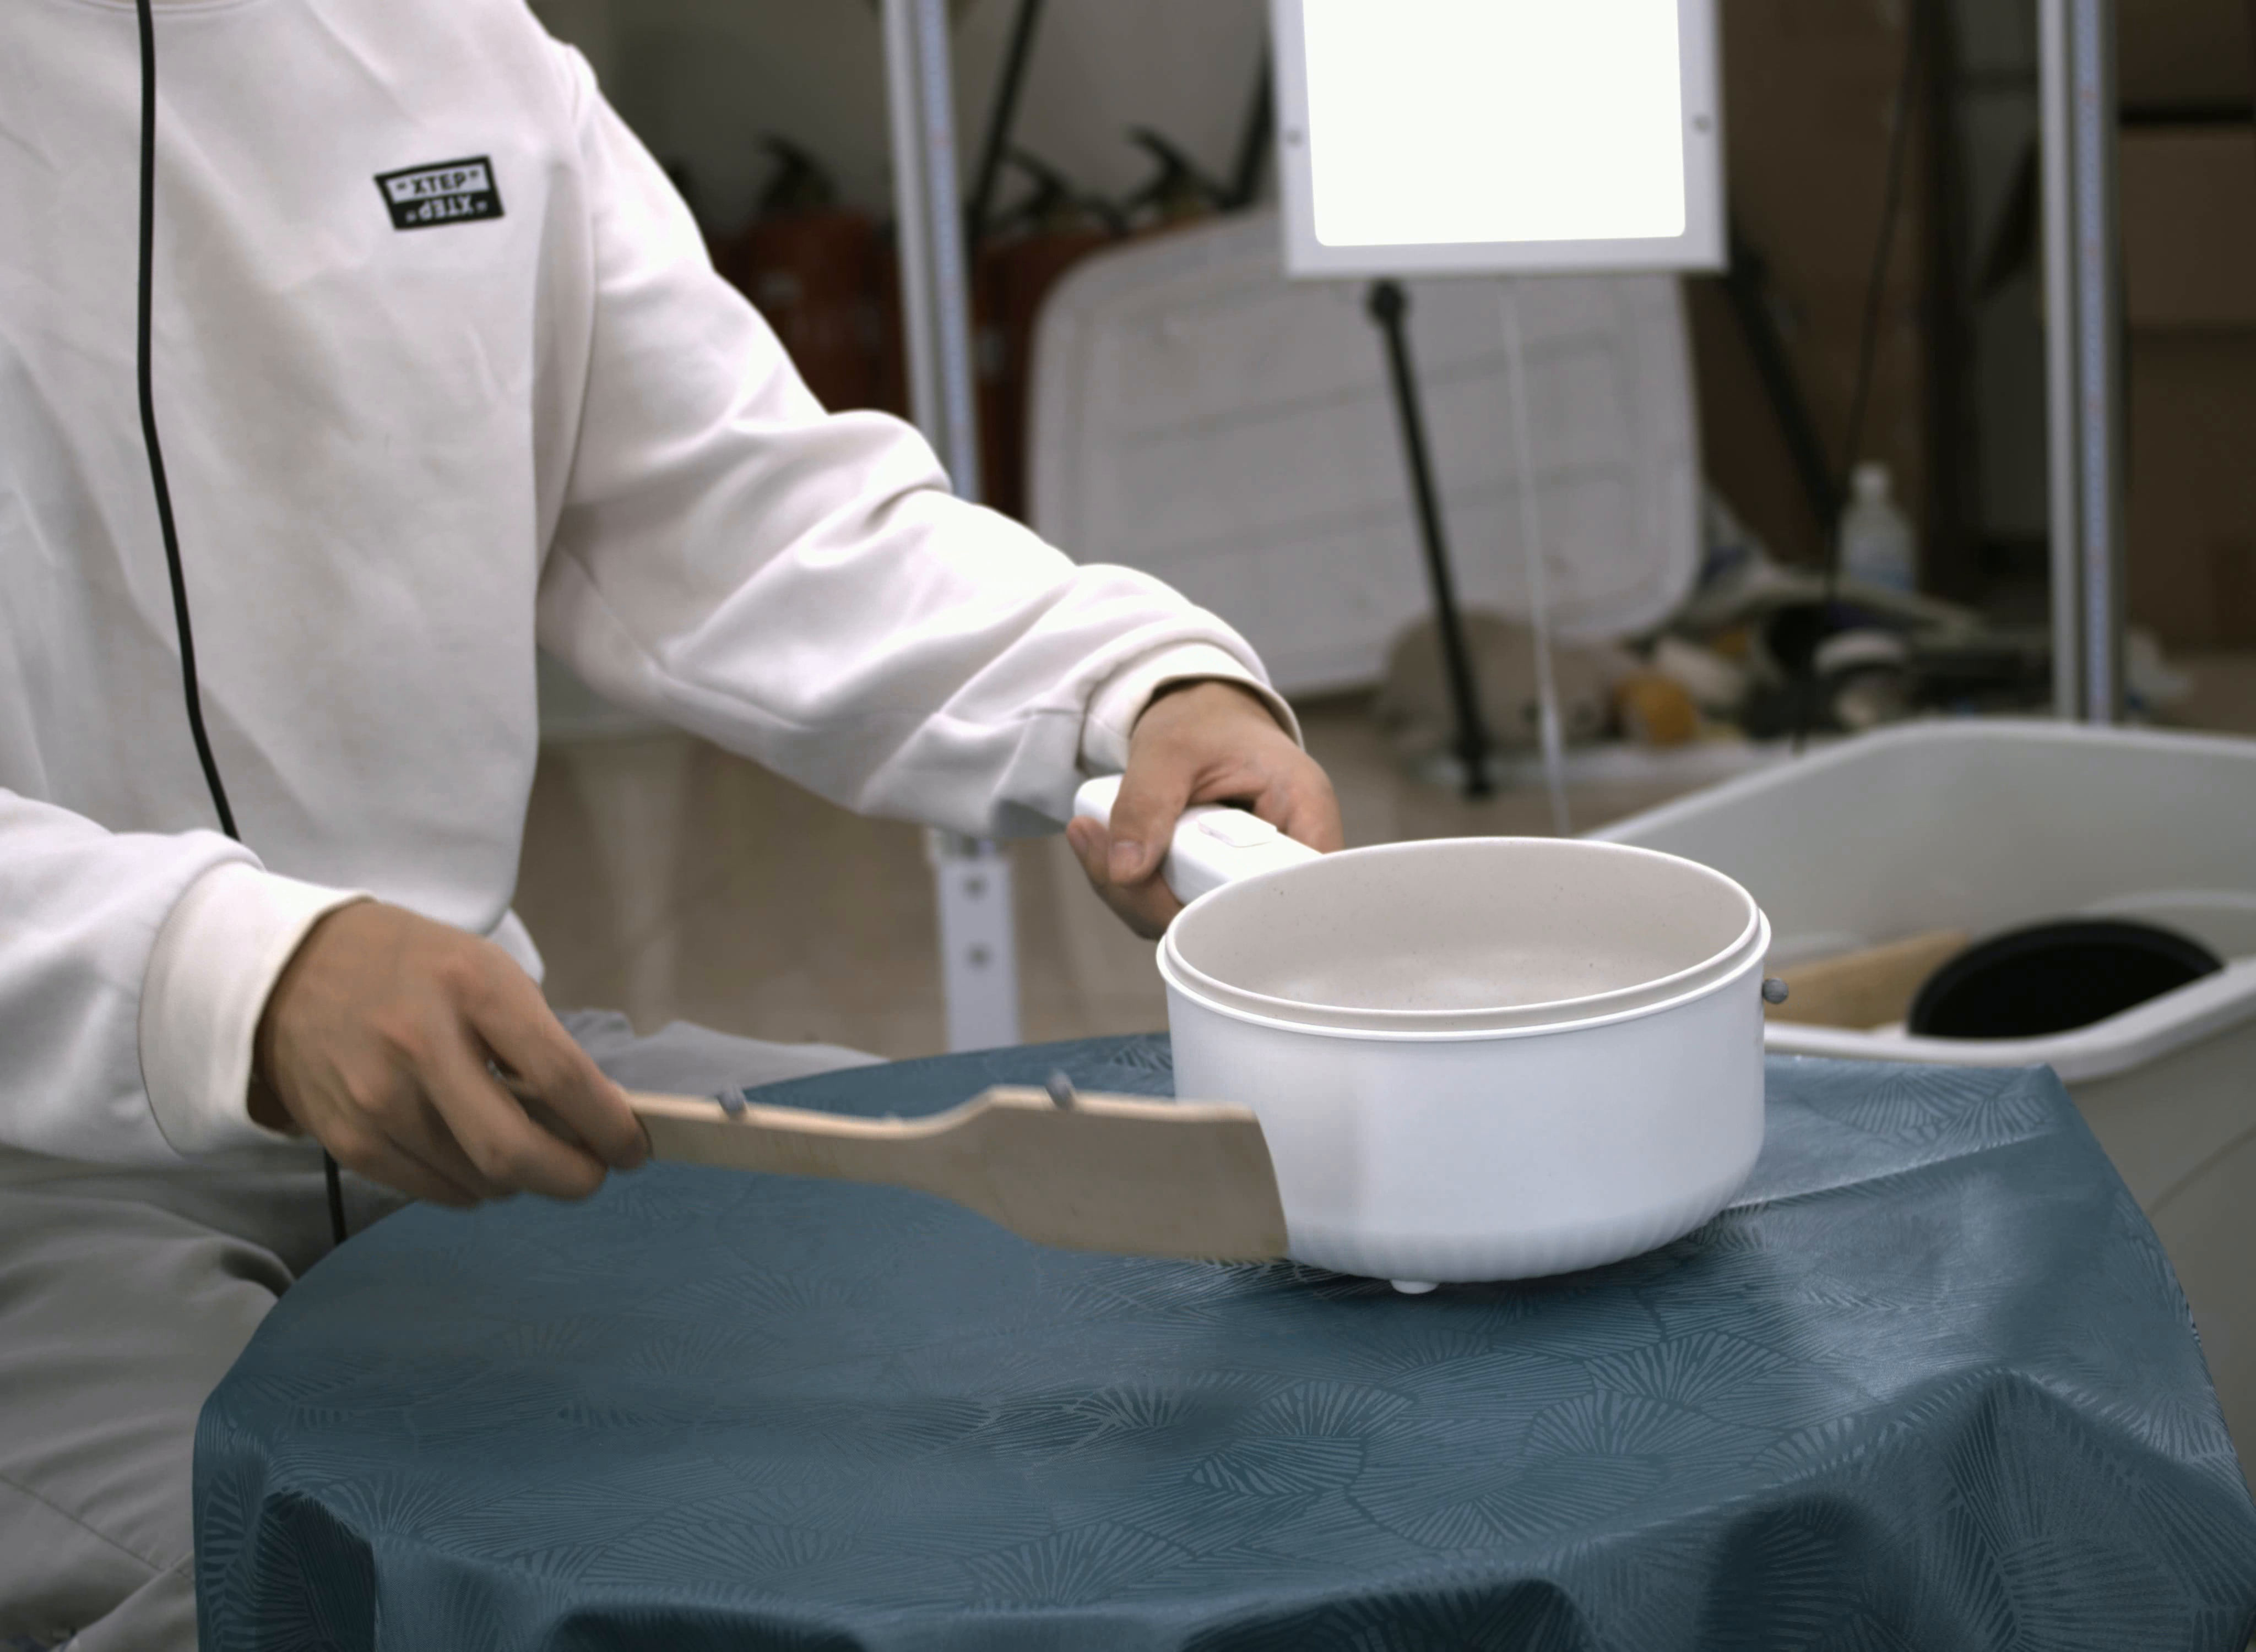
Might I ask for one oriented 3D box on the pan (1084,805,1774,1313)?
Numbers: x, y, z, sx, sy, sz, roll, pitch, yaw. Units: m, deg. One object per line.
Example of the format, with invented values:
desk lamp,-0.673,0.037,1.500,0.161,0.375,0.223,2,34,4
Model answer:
pan,0.081,0.072,1.881,0.197,0.102,0.360,-15,16,-23
